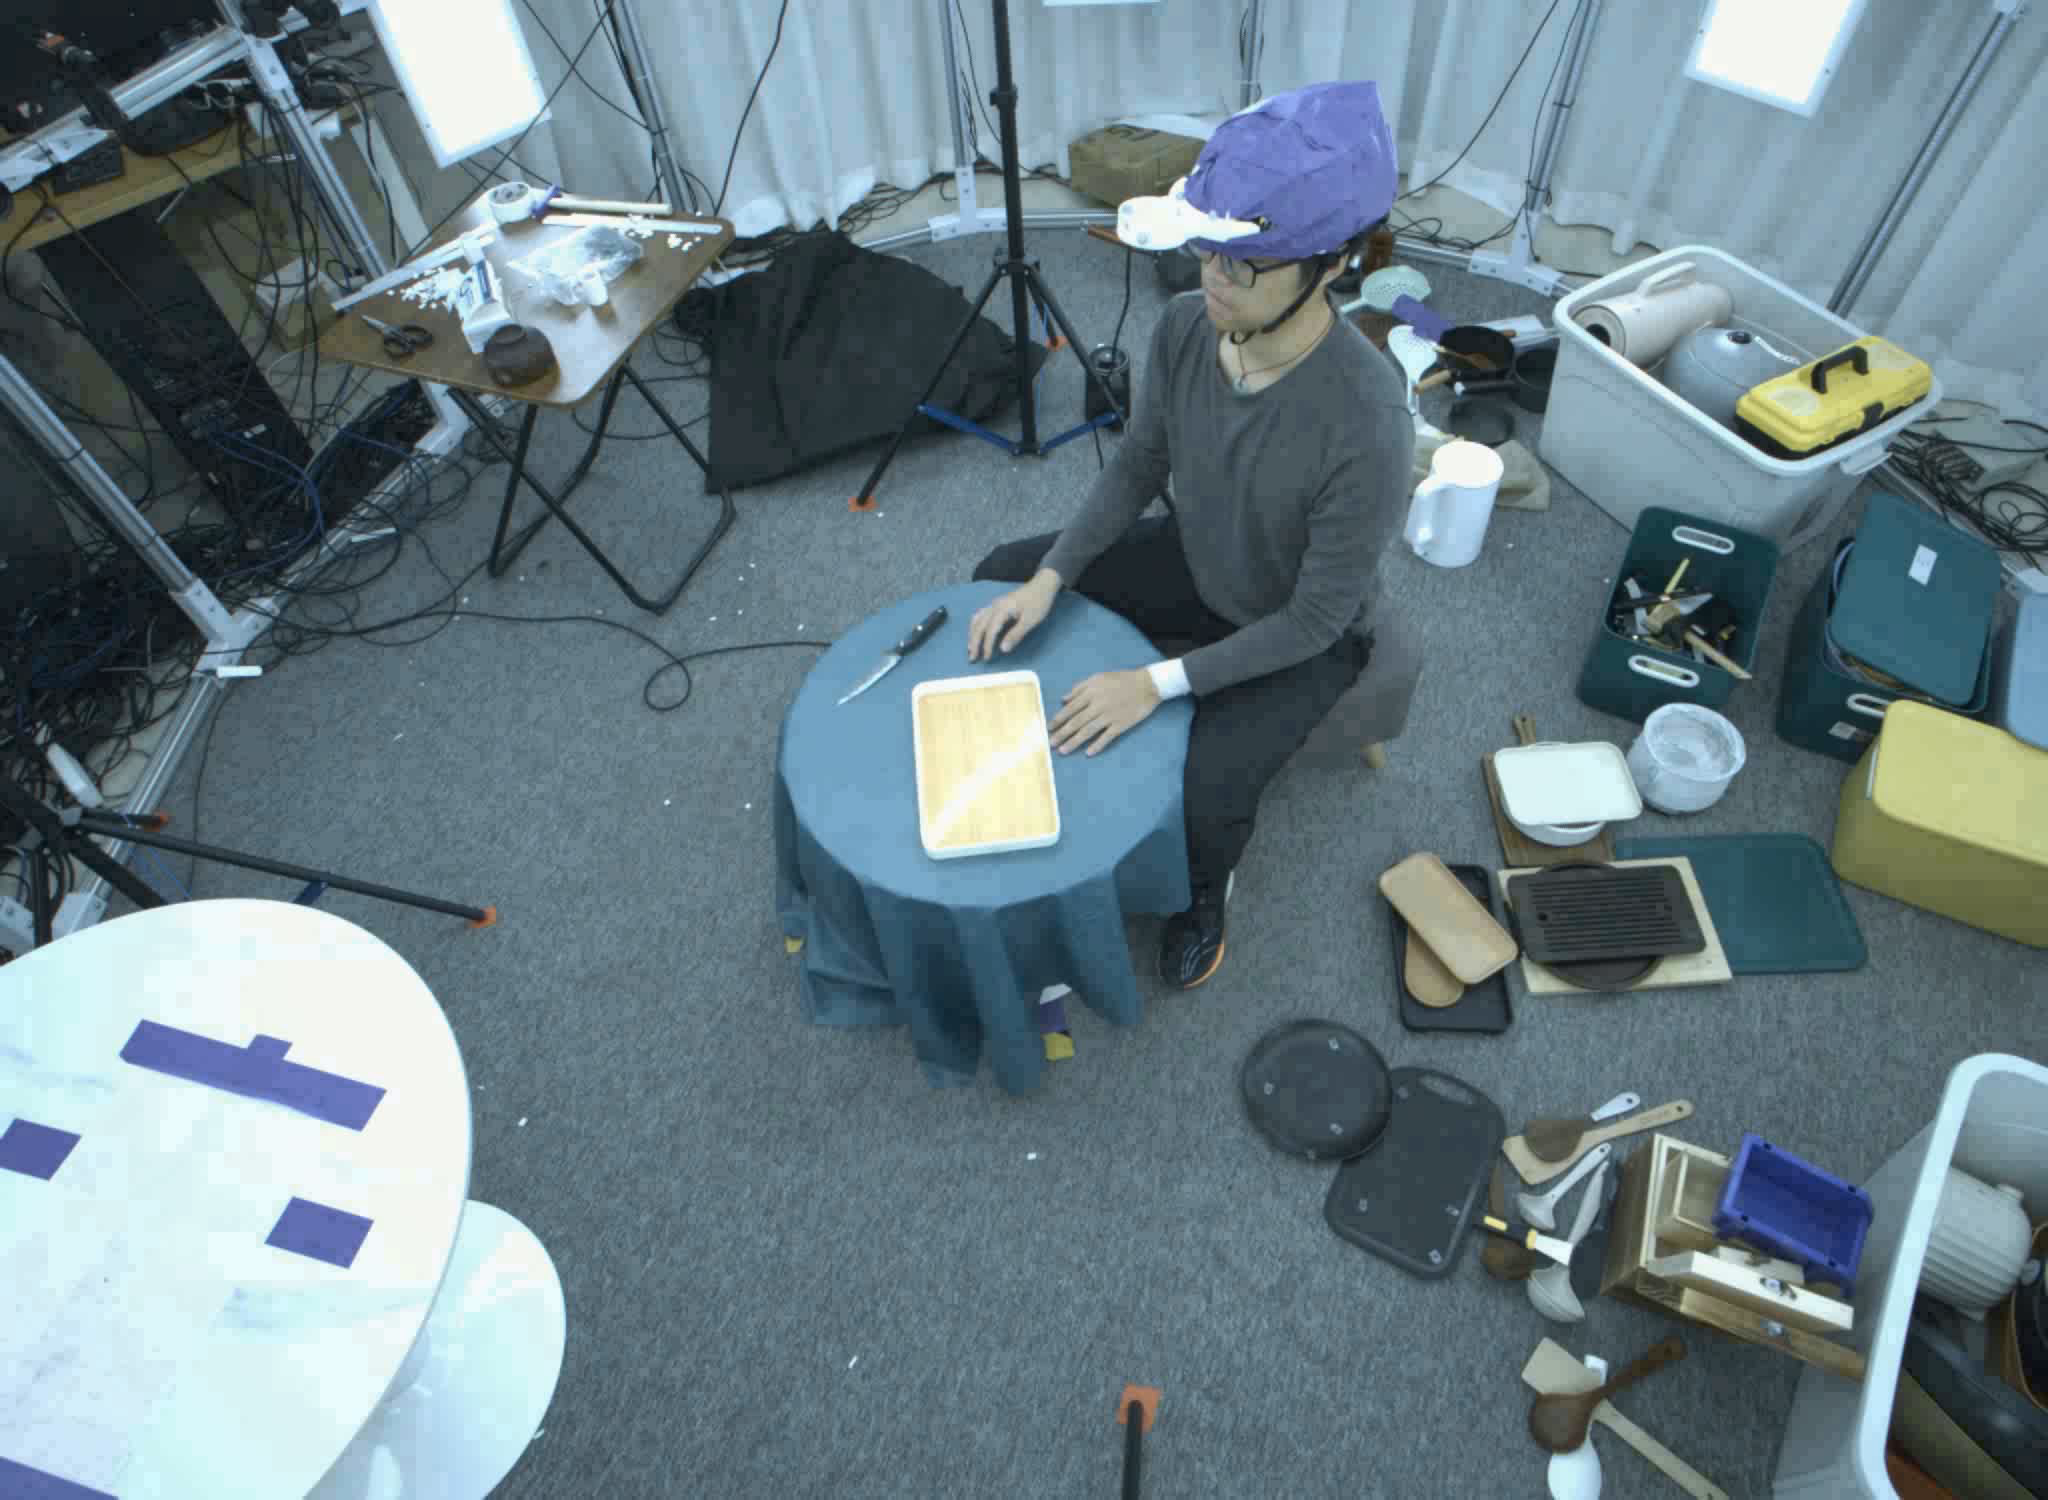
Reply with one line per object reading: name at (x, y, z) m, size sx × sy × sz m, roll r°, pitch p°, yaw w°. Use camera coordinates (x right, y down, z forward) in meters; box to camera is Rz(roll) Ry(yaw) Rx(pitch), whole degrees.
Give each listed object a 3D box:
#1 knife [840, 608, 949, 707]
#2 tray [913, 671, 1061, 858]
knife at (-0.204, -0.145, 1.897) m, size 0.024 × 0.016 × 0.239 m, roll 33°, pitch 64°, yaw 25°
tray at (-0.057, 0.015, 1.770) m, size 0.192 × 0.027 × 0.296 m, roll -5°, pitch 55°, yaw -3°
